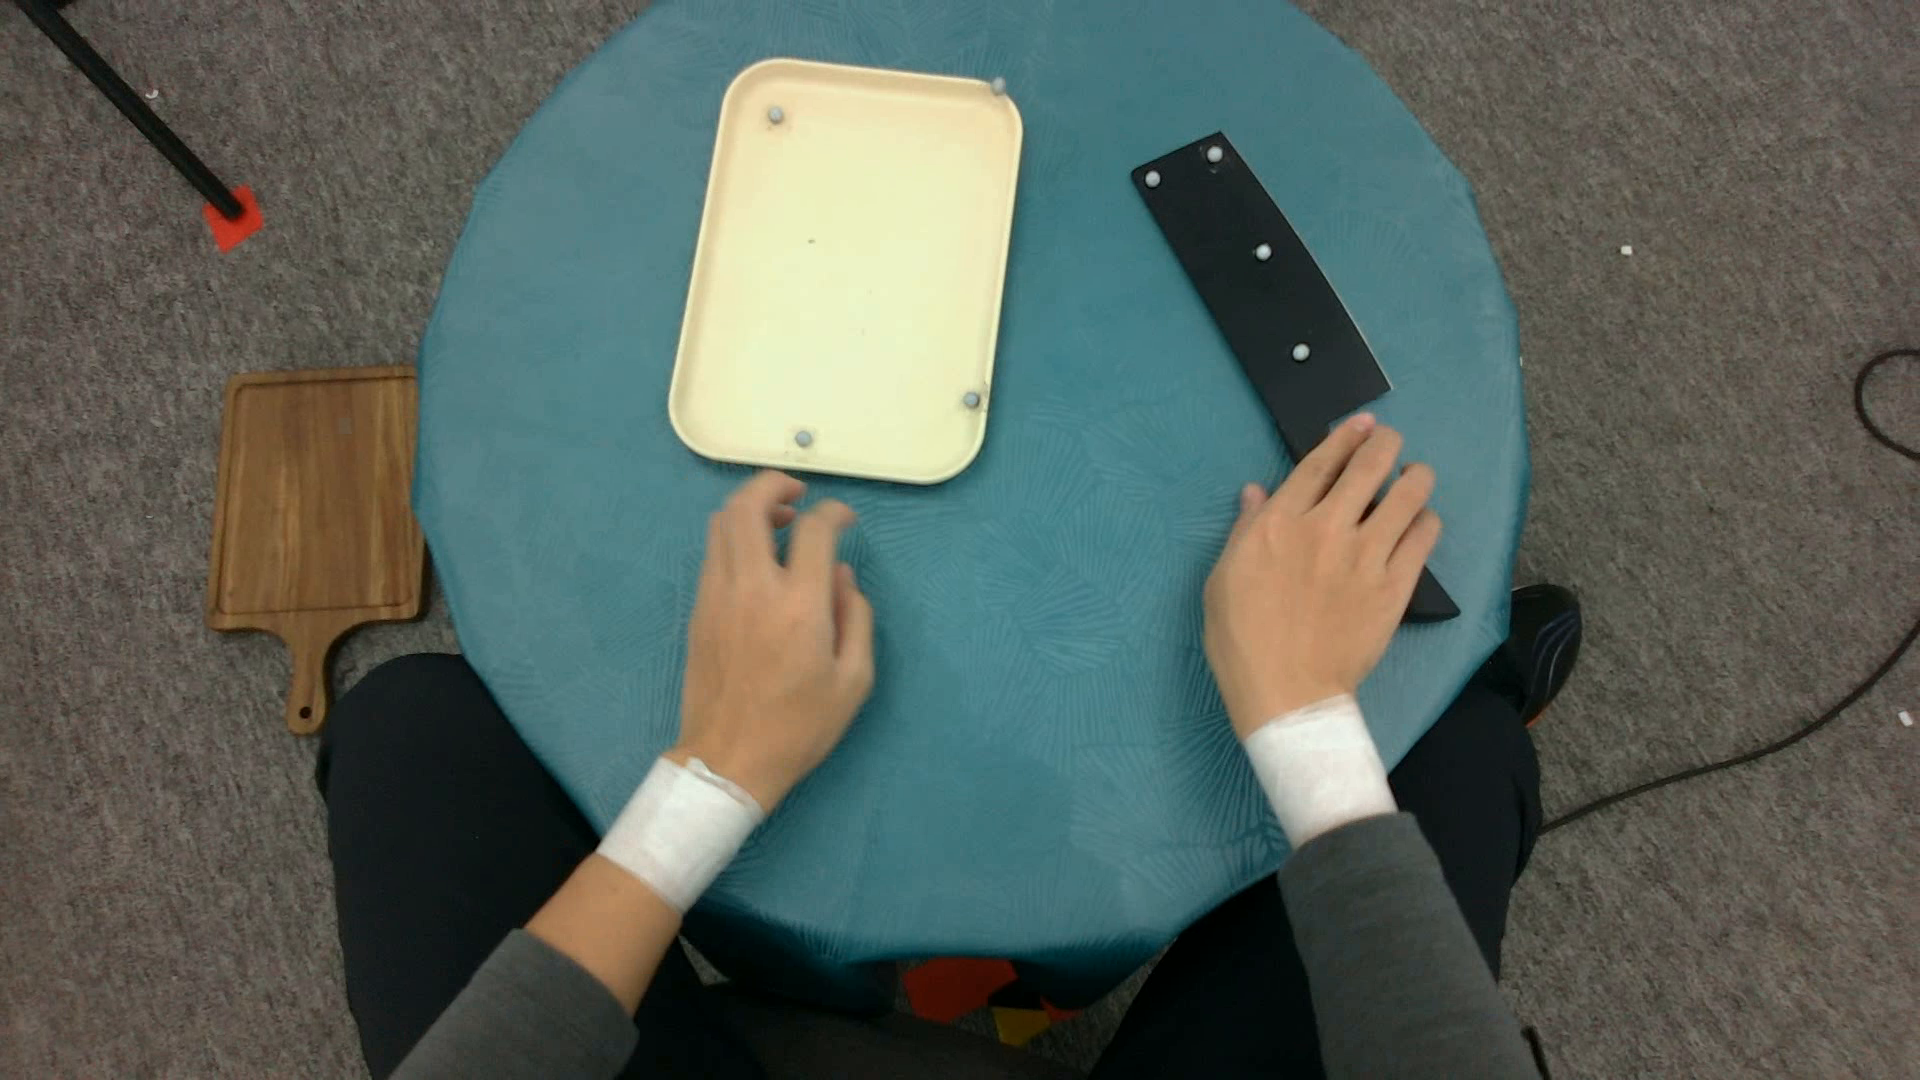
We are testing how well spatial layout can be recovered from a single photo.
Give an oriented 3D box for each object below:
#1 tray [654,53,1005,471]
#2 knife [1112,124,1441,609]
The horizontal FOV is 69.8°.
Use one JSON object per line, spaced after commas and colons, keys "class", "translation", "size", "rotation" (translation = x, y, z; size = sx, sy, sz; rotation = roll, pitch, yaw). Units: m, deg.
{"class": "tray", "translation": [-0.069, -0.155, 0.757], "size": [0.171, 0.017, 0.240], "rotation": [6, 75, 2]}
{"class": "knife", "translation": [0.177, -0.098, 0.745], "size": [0.081, 0.021, 0.303], "rotation": [-21, 74, -7]}
